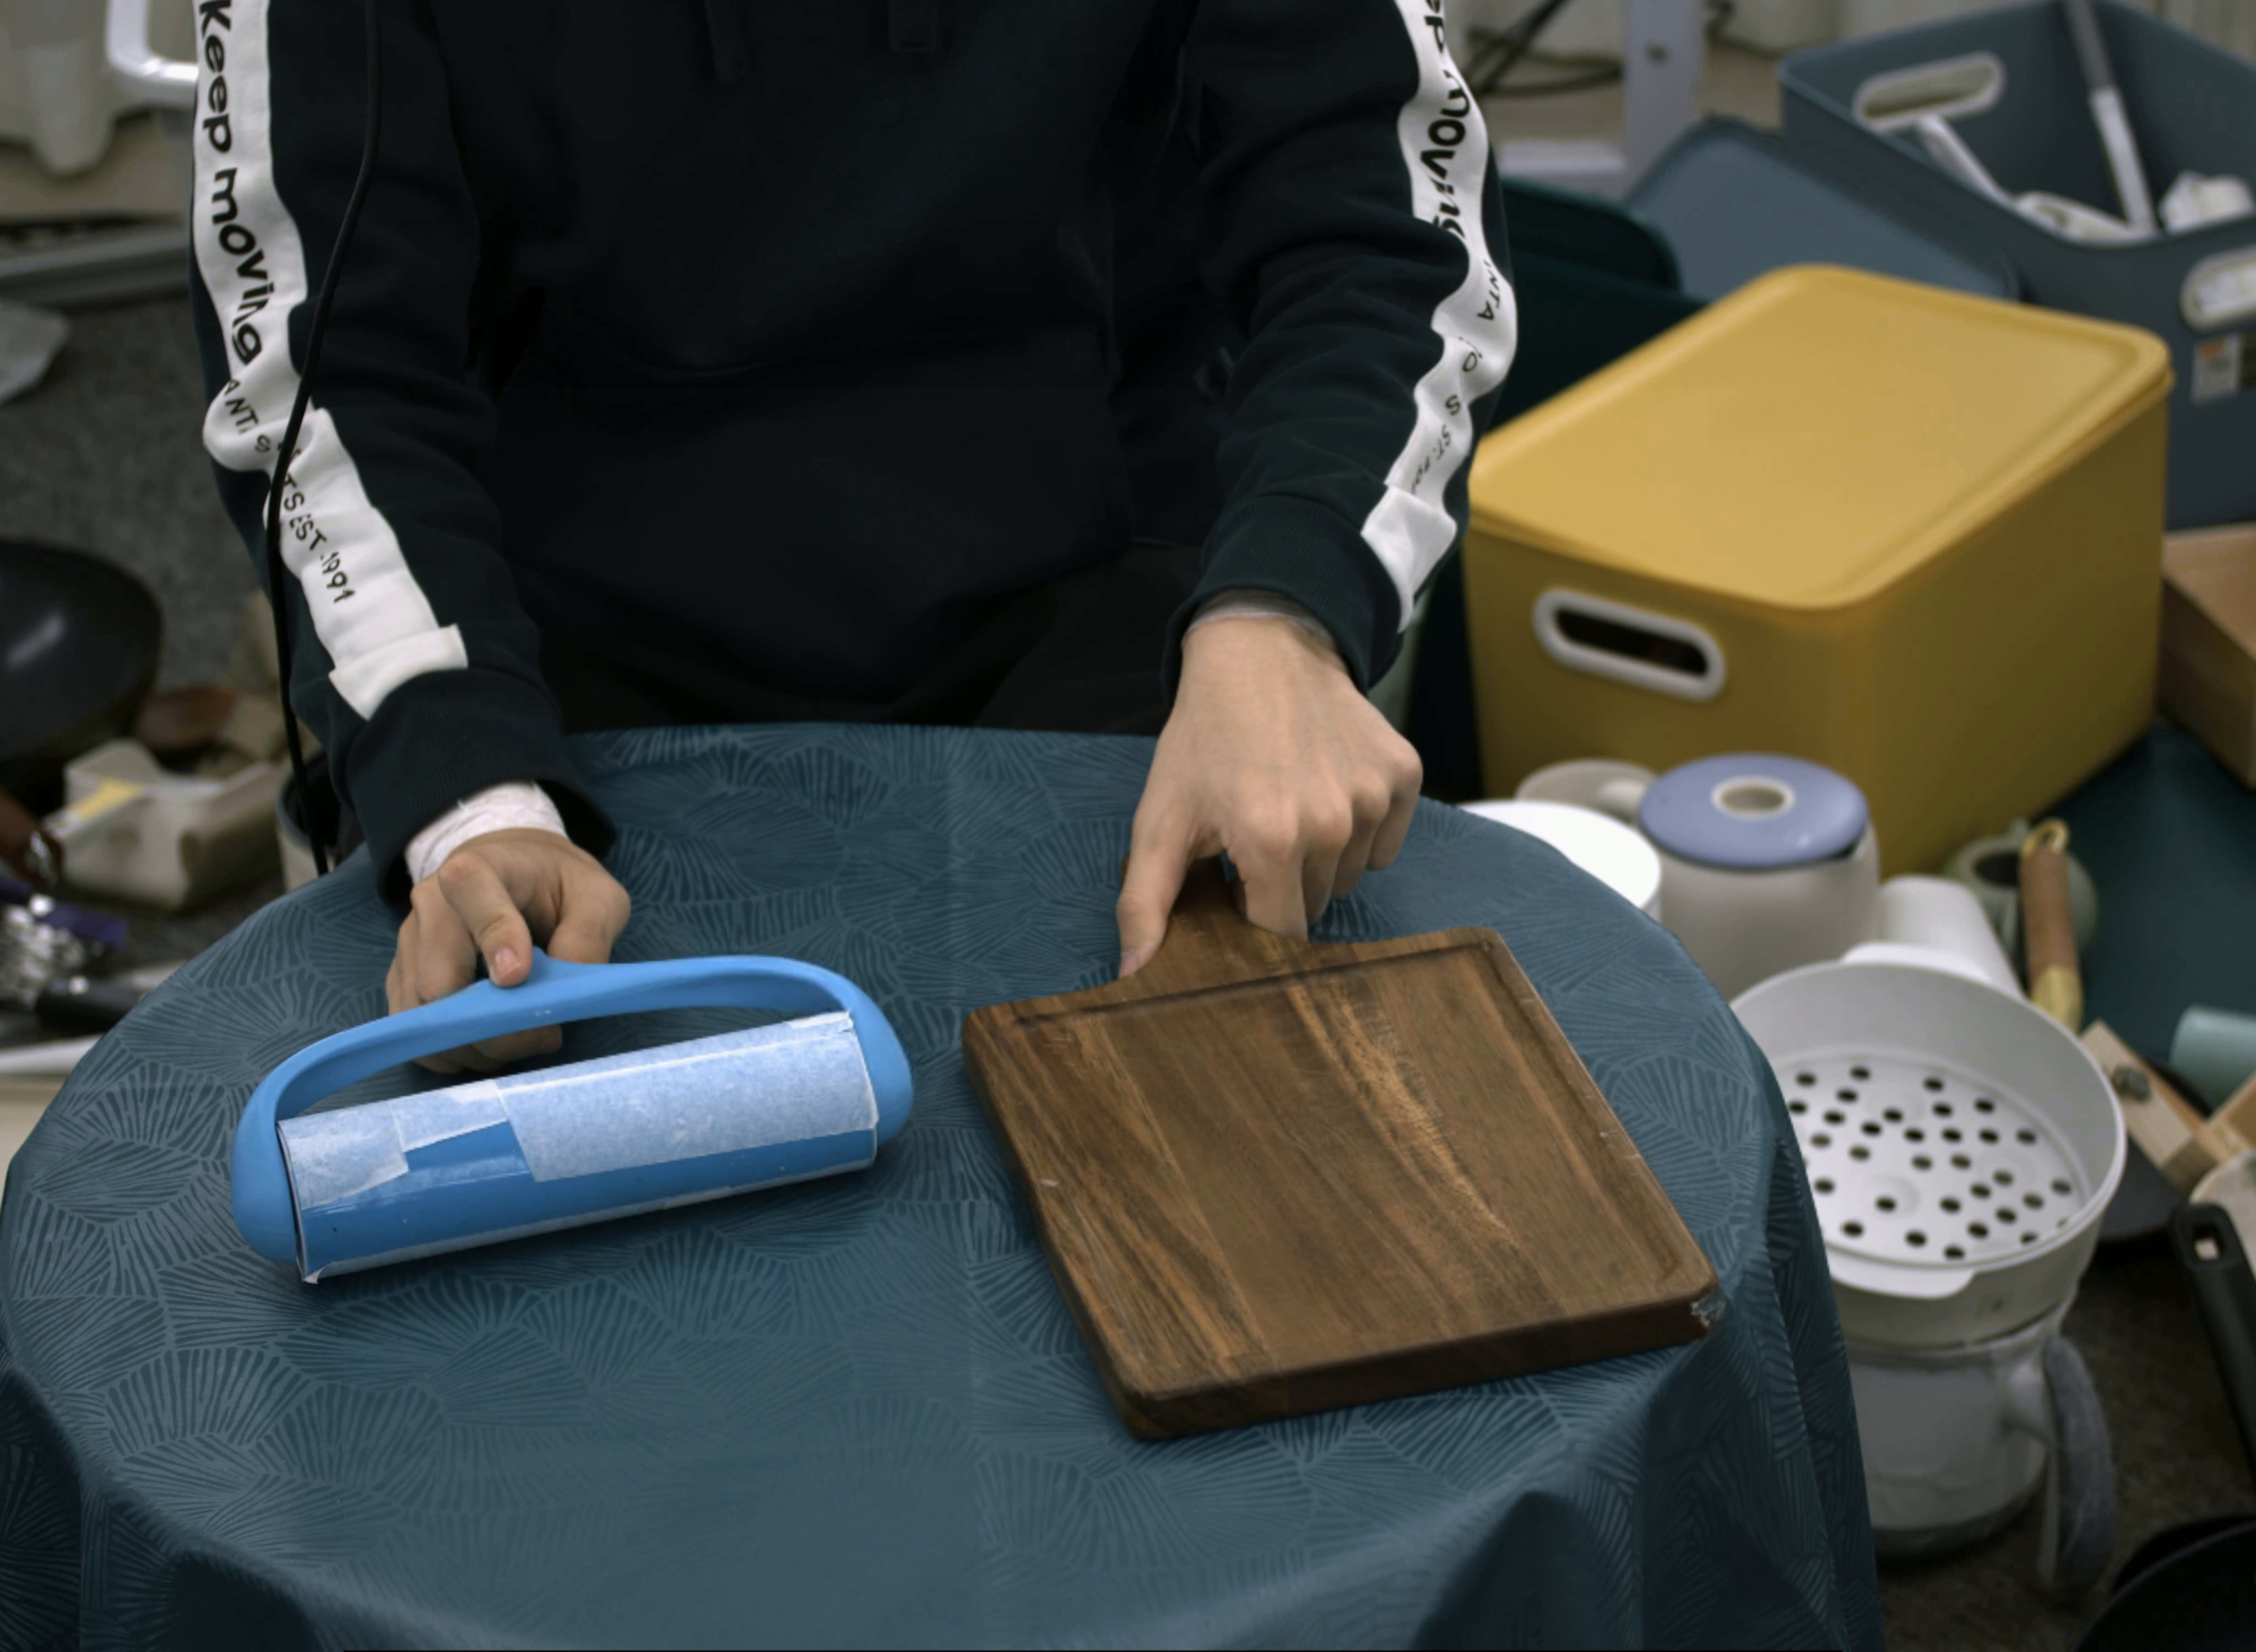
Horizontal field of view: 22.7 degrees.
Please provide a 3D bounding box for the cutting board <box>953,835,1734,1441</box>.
[{"bbox_3d":[0.053,0.090,1.891,0.201,0.023,0.356,-8,28,-12],"label":"cutting board"}]

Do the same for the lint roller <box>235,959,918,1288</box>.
[{"bbox_3d":[-0.200,0.080,1.899,0.229,0.067,0.182,-13,30,-16],"label":"lint roller"}]
